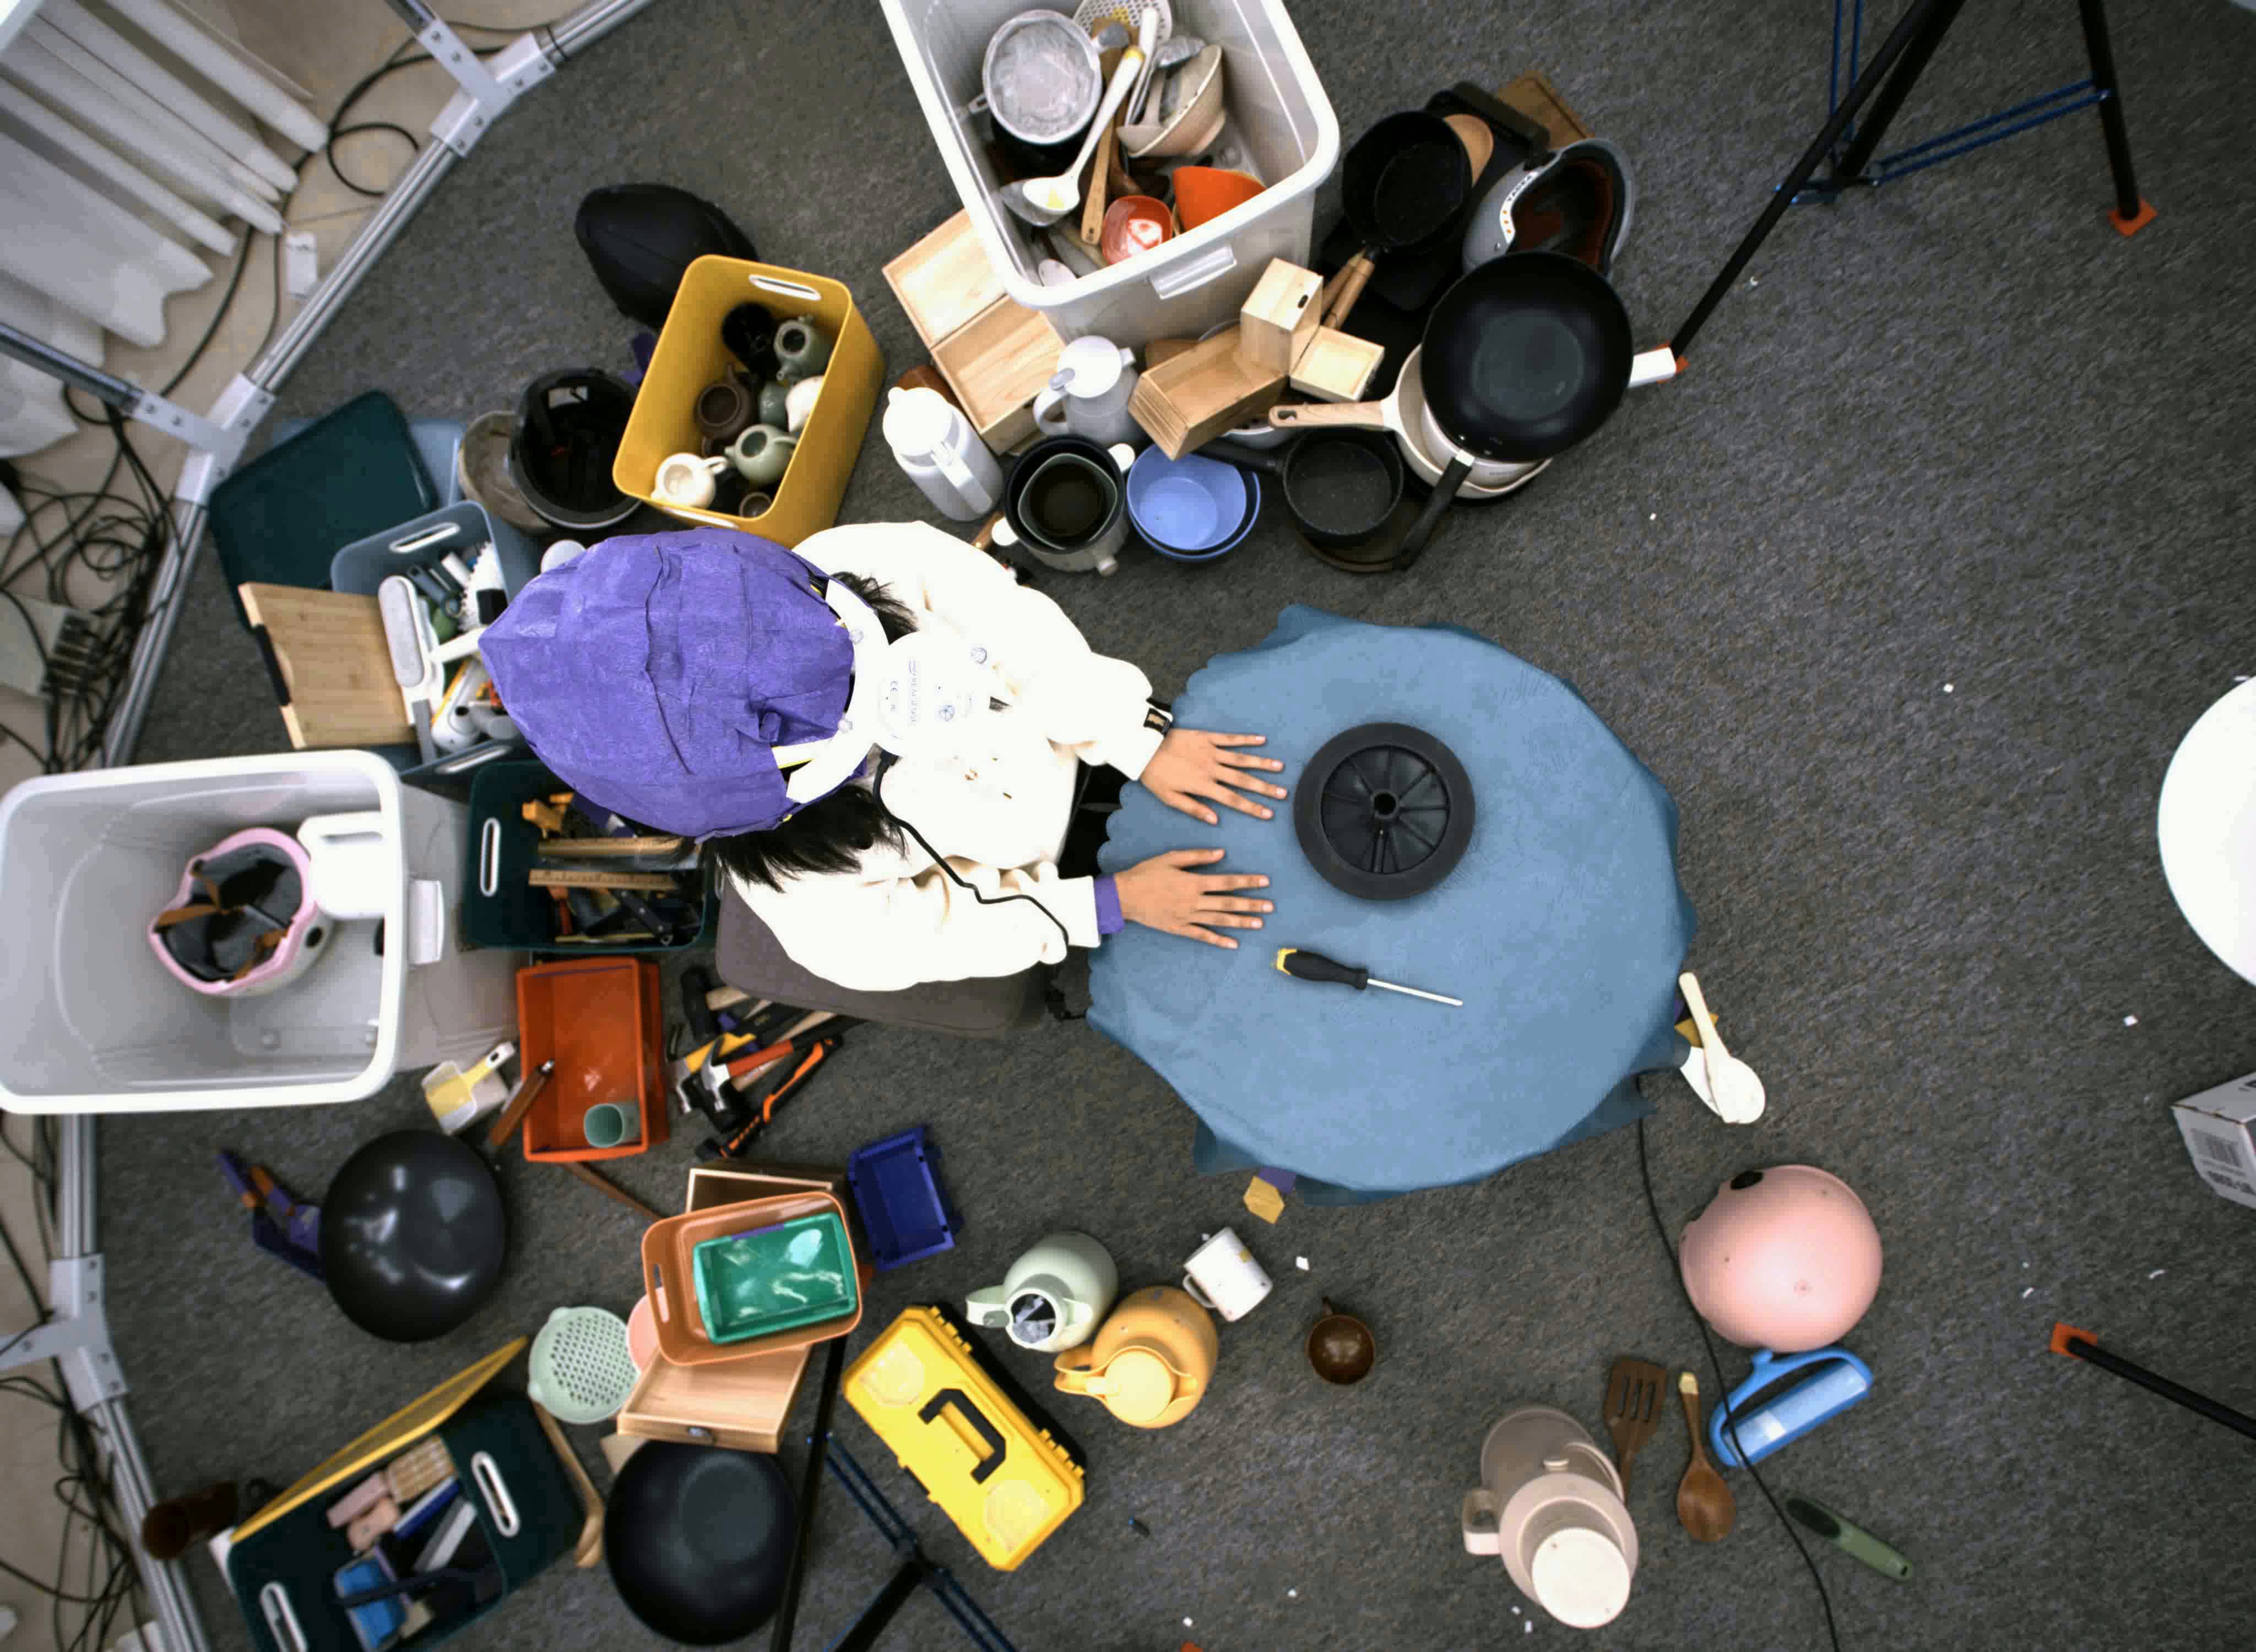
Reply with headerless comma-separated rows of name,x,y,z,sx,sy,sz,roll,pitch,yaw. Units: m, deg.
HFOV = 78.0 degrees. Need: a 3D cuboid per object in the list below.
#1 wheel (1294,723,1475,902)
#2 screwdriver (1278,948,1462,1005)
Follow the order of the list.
wheel,0.266,-0.016,1.429,0.188,0.079,0.189,-16,87,9
screwdriver,0.254,0.157,1.446,0.196,0.031,0.031,11,87,9
